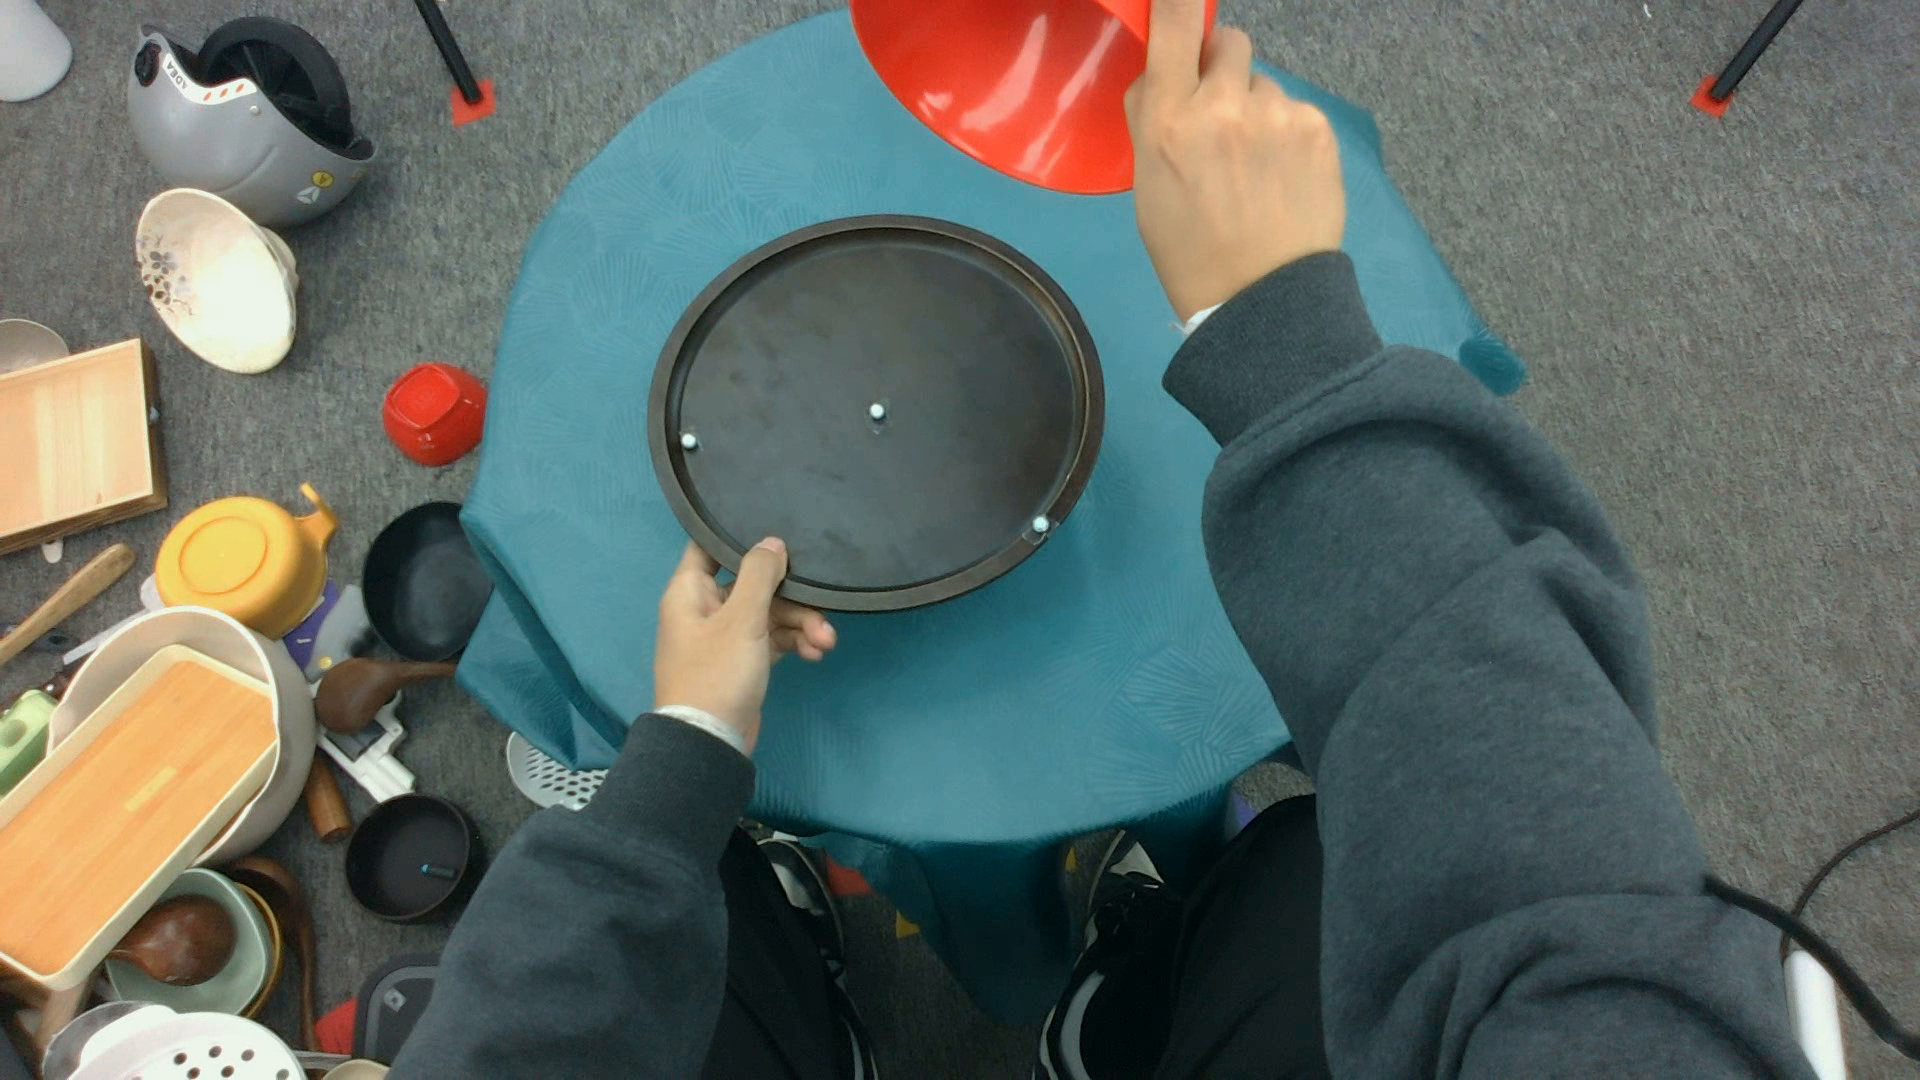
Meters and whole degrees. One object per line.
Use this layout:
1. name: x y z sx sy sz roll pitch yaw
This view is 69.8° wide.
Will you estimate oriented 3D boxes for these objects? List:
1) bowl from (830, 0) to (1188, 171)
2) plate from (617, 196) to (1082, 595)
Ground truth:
1. bowl: 0.032 -0.233 0.570 0.148 0.148 0.105 32 82 14
2. plate: -0.060 -0.085 0.759 0.255 0.029 0.255 0 65 0
